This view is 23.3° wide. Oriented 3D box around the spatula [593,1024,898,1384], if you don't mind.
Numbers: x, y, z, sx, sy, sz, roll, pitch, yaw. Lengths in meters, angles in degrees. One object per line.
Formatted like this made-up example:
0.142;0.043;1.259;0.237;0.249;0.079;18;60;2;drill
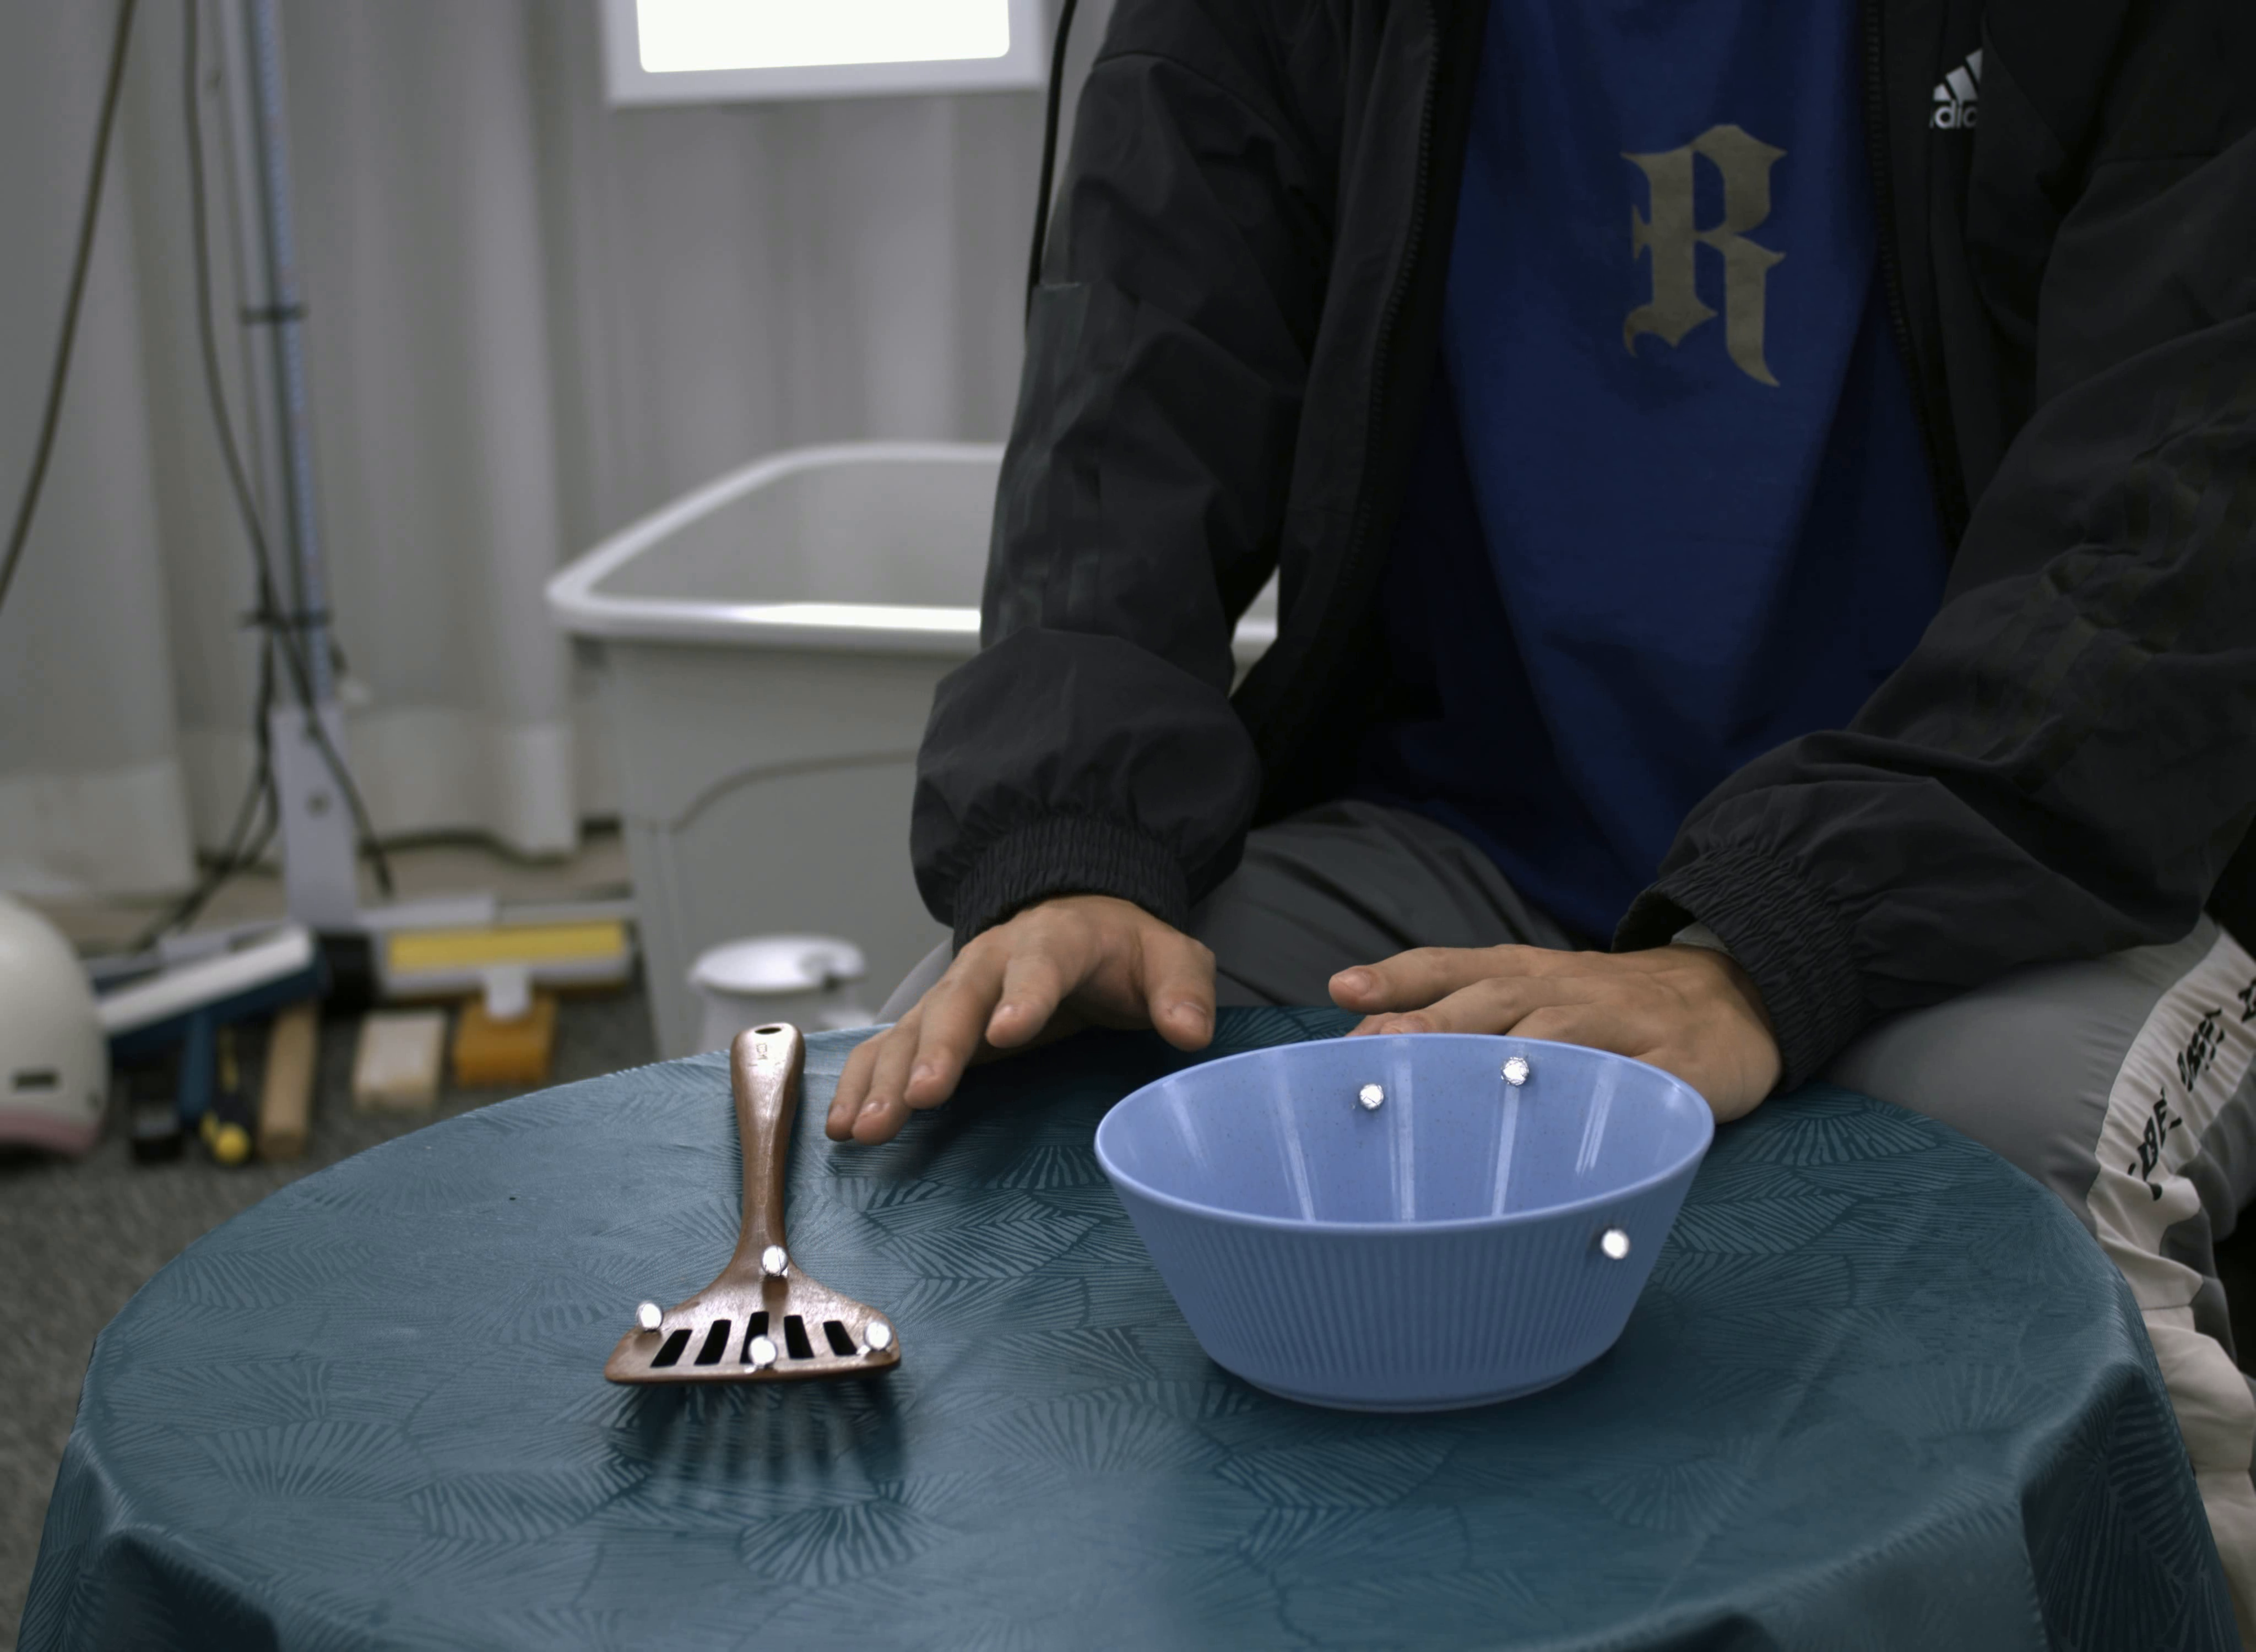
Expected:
-0.112;0.117;1.685;0.085;0.024;0.389;-3;13;-2;spatula

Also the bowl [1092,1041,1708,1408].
0.078;0.116;1.555;0.175;0.070;0.177;-2;14;0;bowl
